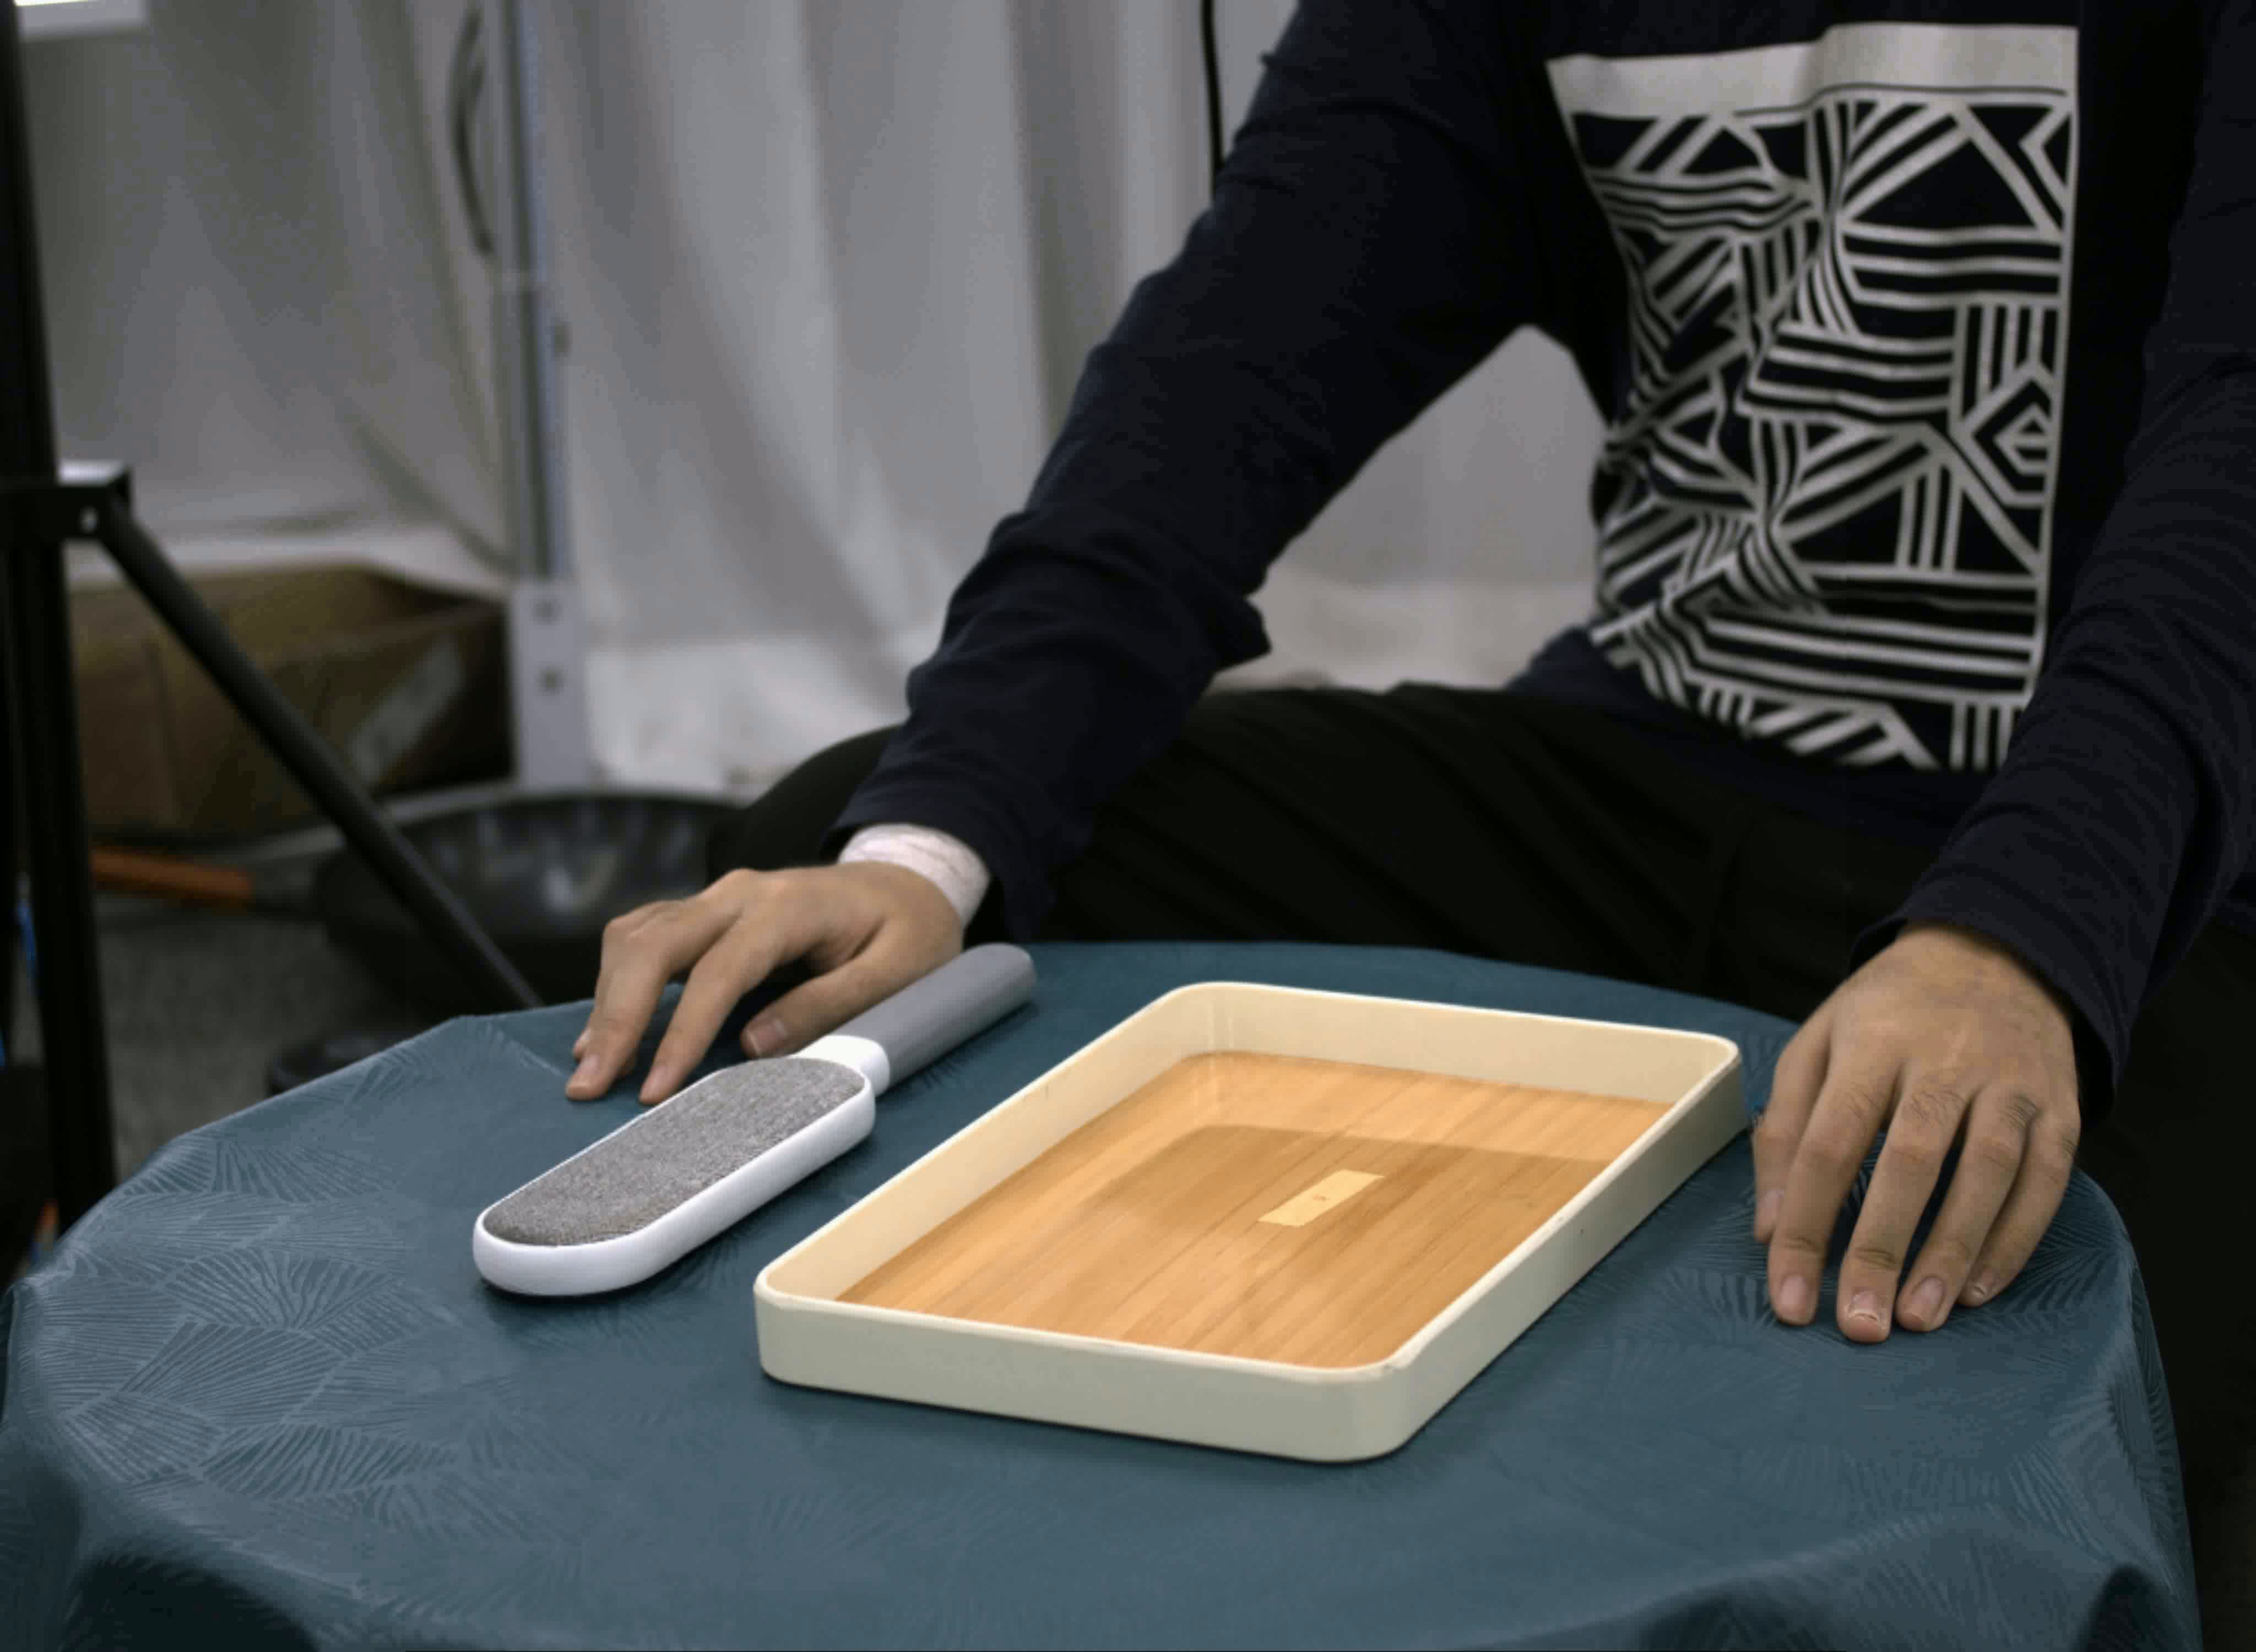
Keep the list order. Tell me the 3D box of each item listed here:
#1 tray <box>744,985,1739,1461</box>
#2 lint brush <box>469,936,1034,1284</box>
[{"bbox_3d":[0.040,0.107,1.511,0.194,0.027,0.295,5,17,27],"label":"tray"},{"bbox_3d":[-0.103,0.083,1.618,0.061,0.021,0.304,-1,15,27],"label":"lint brush"}]
